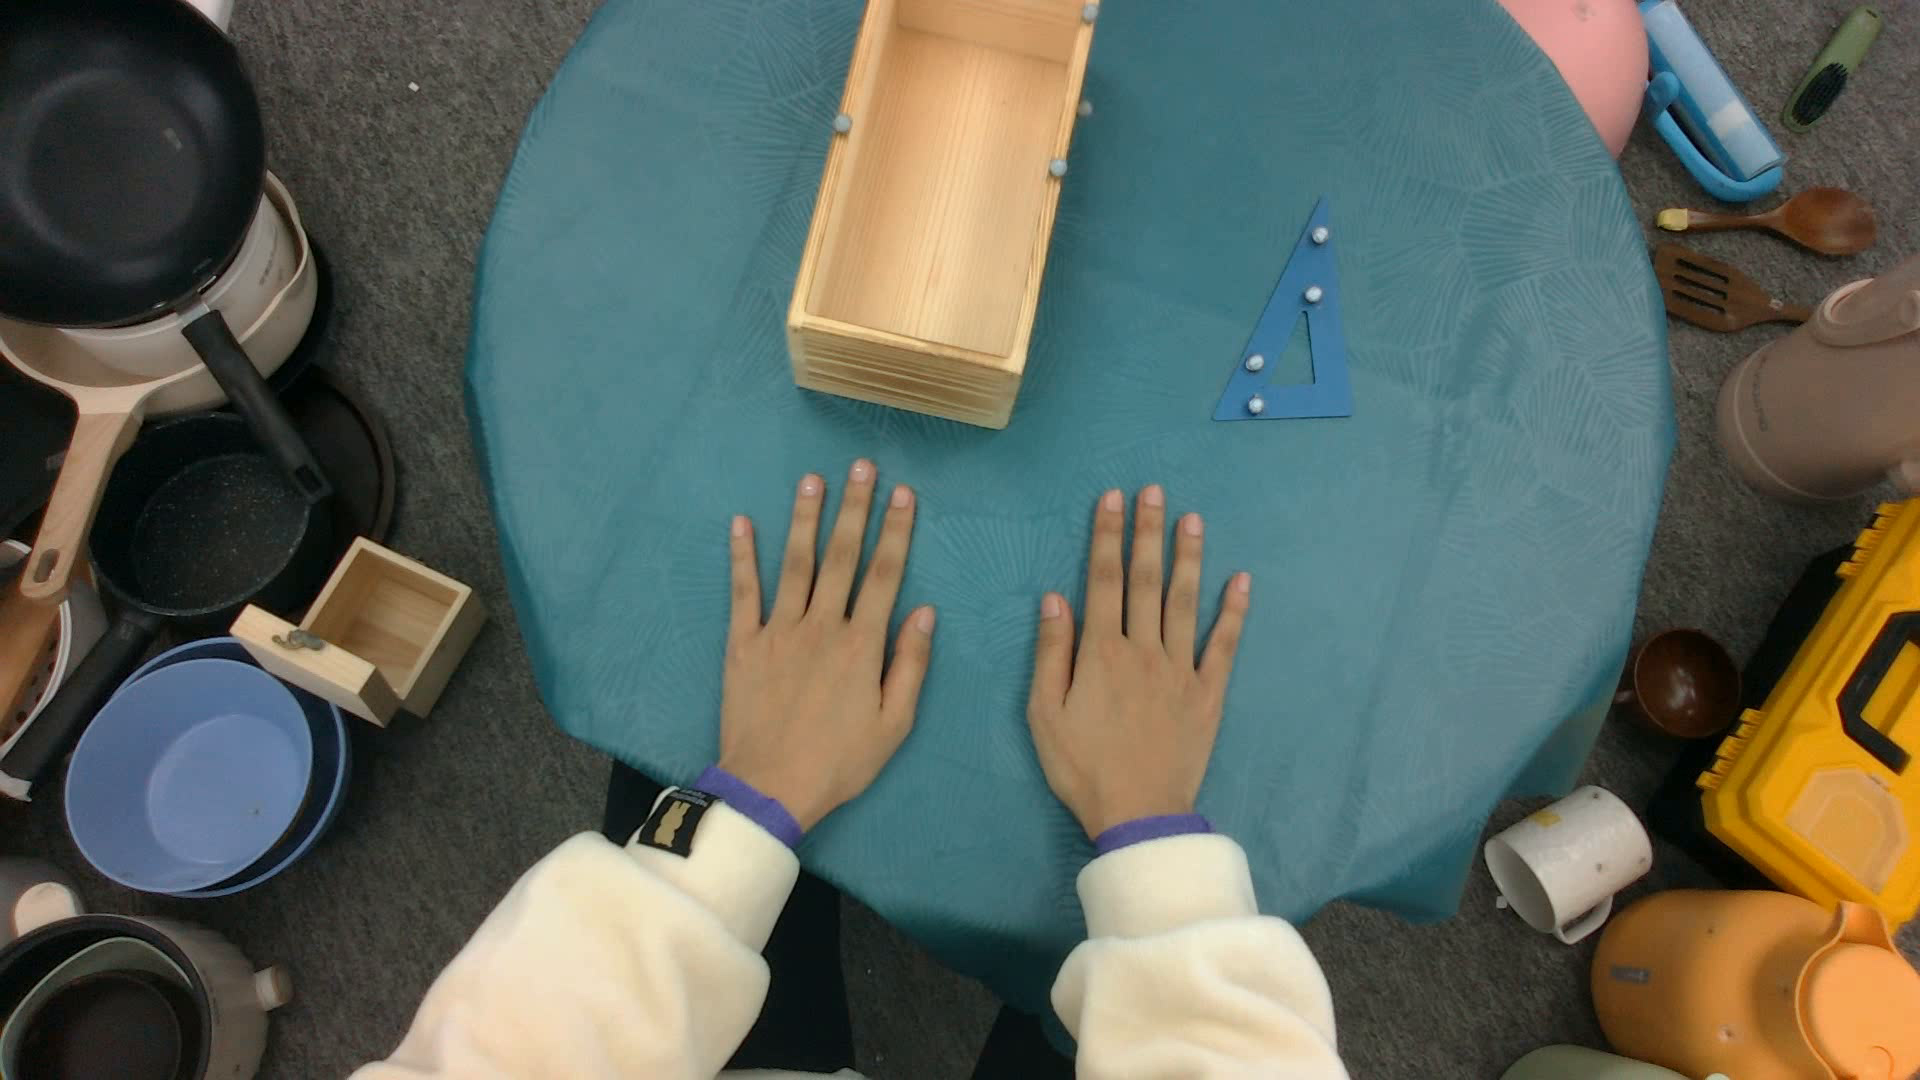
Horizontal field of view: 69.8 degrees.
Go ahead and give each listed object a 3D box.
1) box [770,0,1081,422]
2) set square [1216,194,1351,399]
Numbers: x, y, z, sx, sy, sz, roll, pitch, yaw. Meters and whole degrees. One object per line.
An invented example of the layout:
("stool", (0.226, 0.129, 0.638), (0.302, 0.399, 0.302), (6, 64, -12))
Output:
("box", (-0.013, -0.176, 0.661), (0.107, 0.080, 0.212), (11, 75, -1))
("set square", (0.185, -0.116, 0.700), (0.061, 0.006, 0.132), (31, 75, 5))
